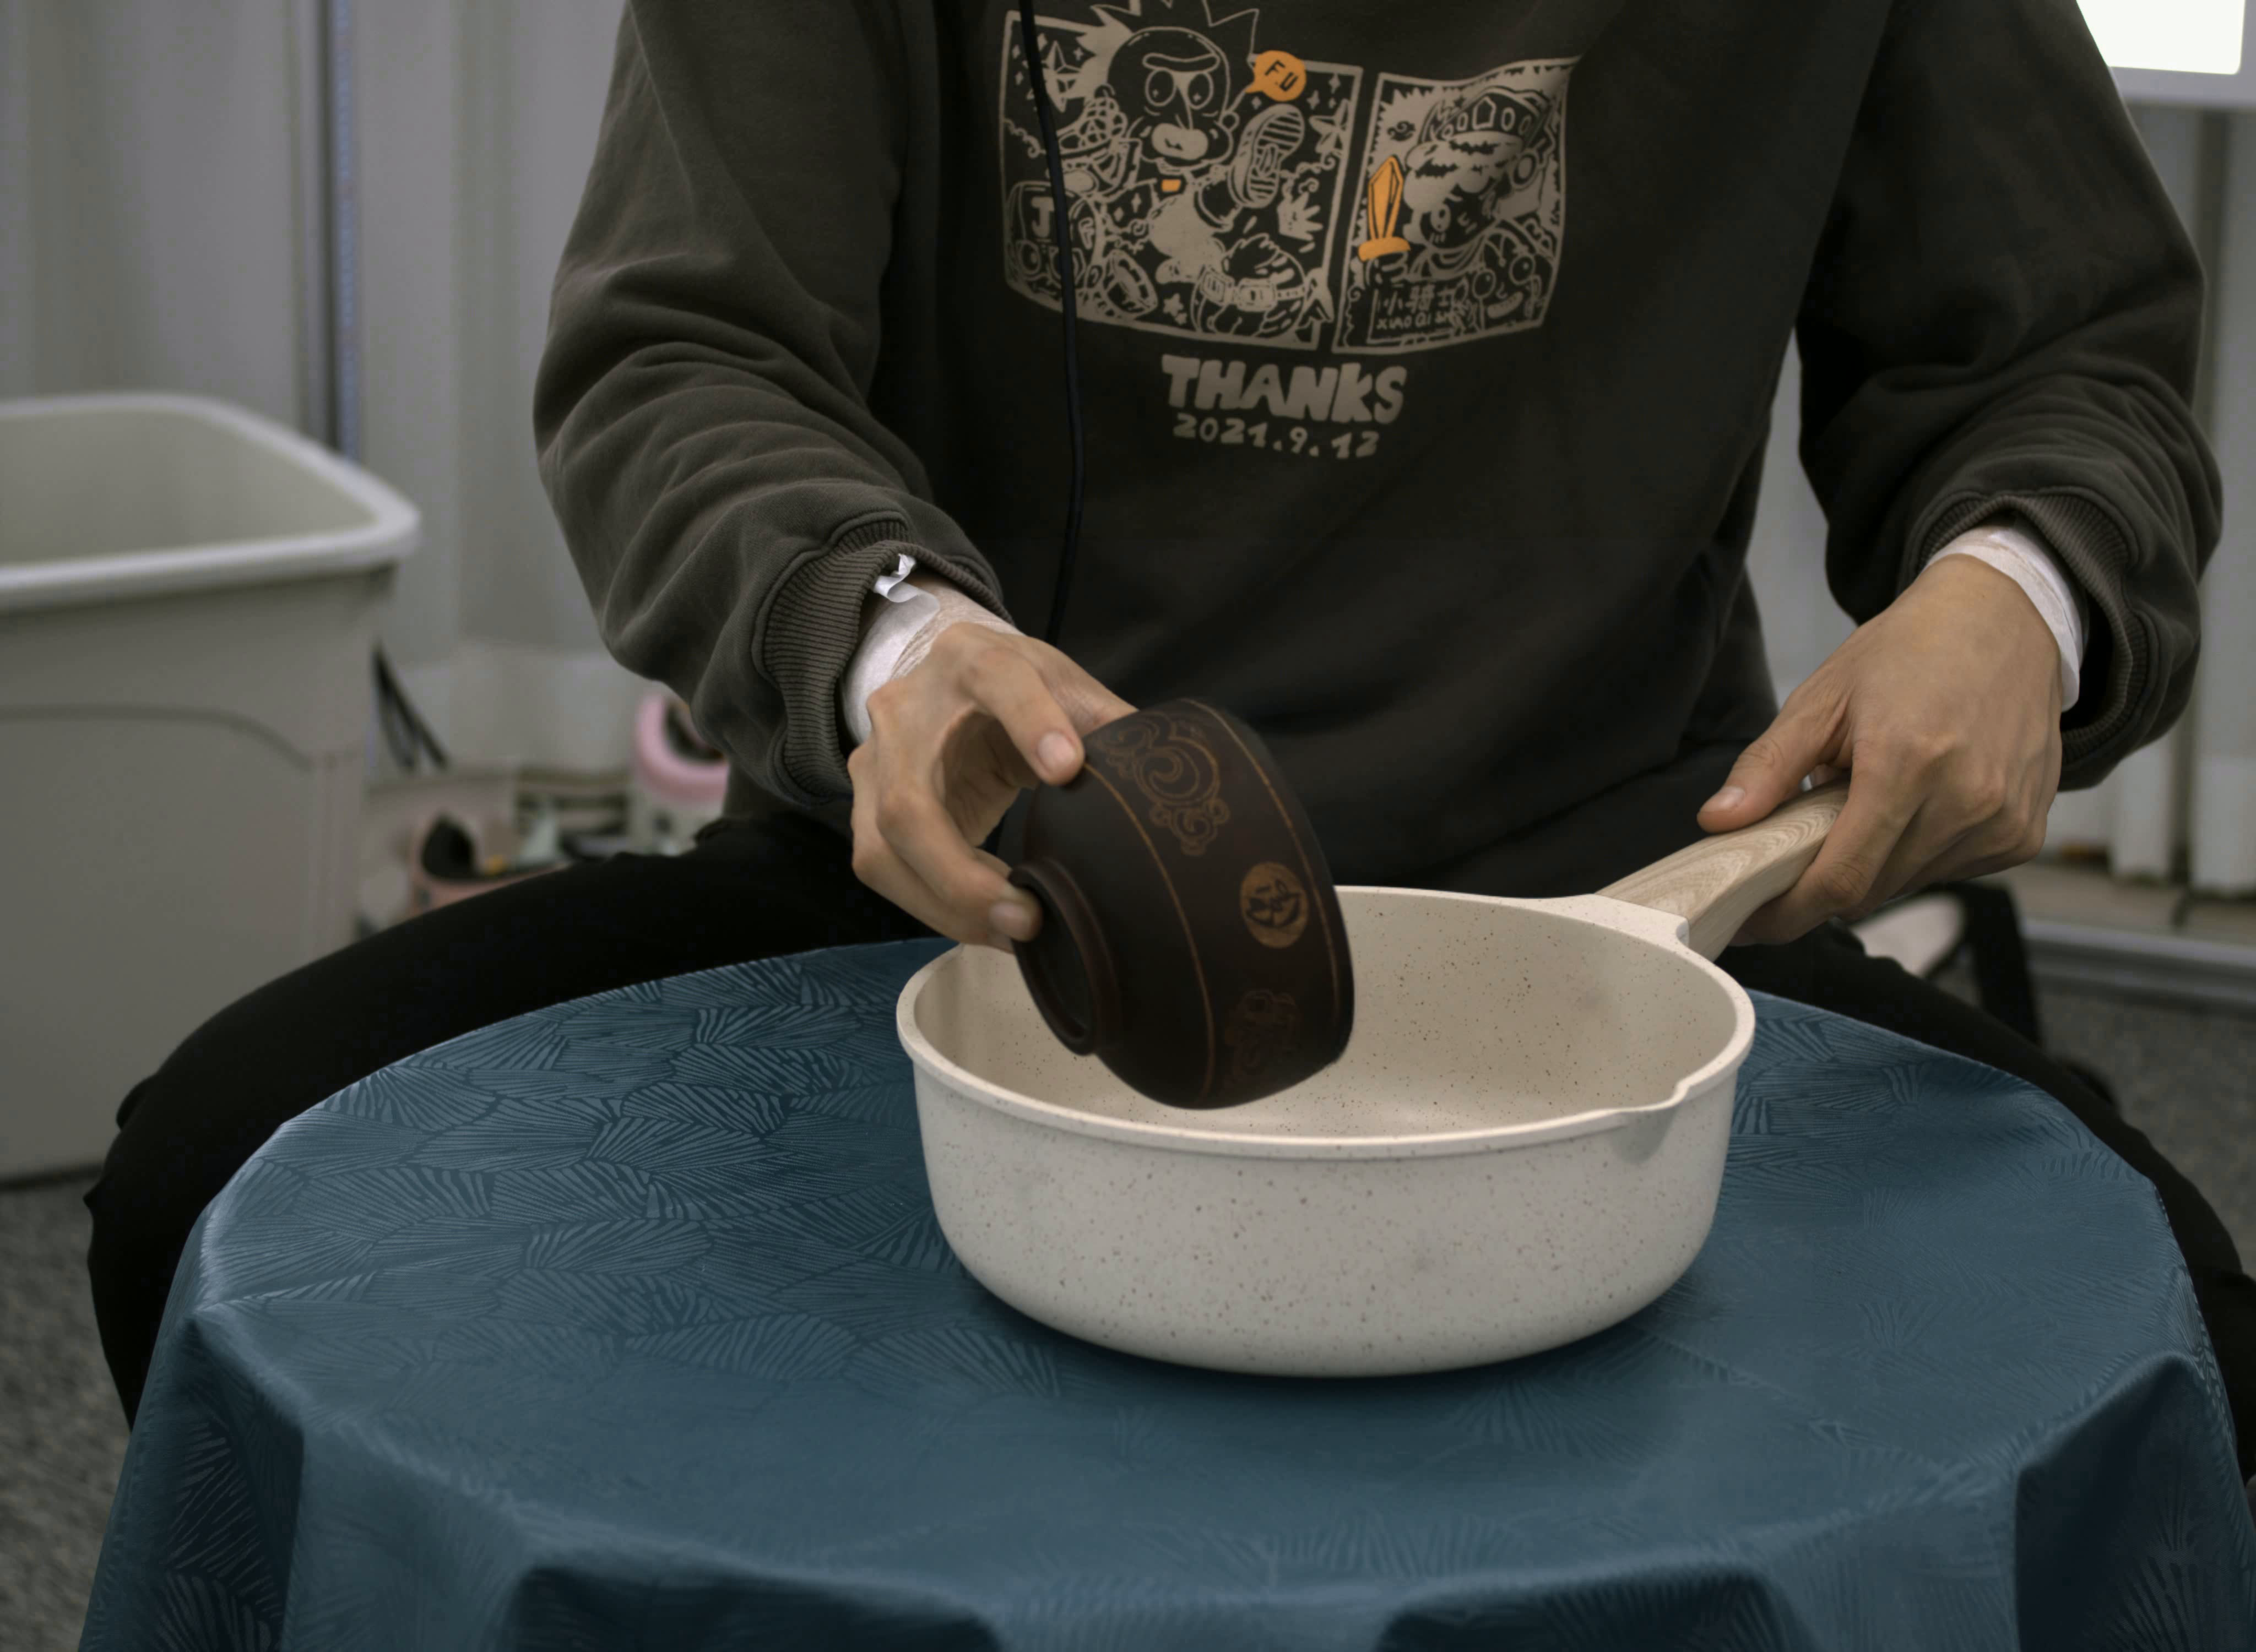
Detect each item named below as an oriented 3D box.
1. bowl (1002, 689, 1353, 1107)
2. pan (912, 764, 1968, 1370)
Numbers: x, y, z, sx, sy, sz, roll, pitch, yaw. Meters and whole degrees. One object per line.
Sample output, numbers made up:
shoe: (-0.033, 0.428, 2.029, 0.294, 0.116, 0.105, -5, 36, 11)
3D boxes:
bowl: (0.007, 0.026, 1.503, 0.070, 0.119, 0.116, -20, 23, -22)
pan: (0.125, 0.068, 1.614, 0.260, 0.103, 0.437, 13, 19, 42)
